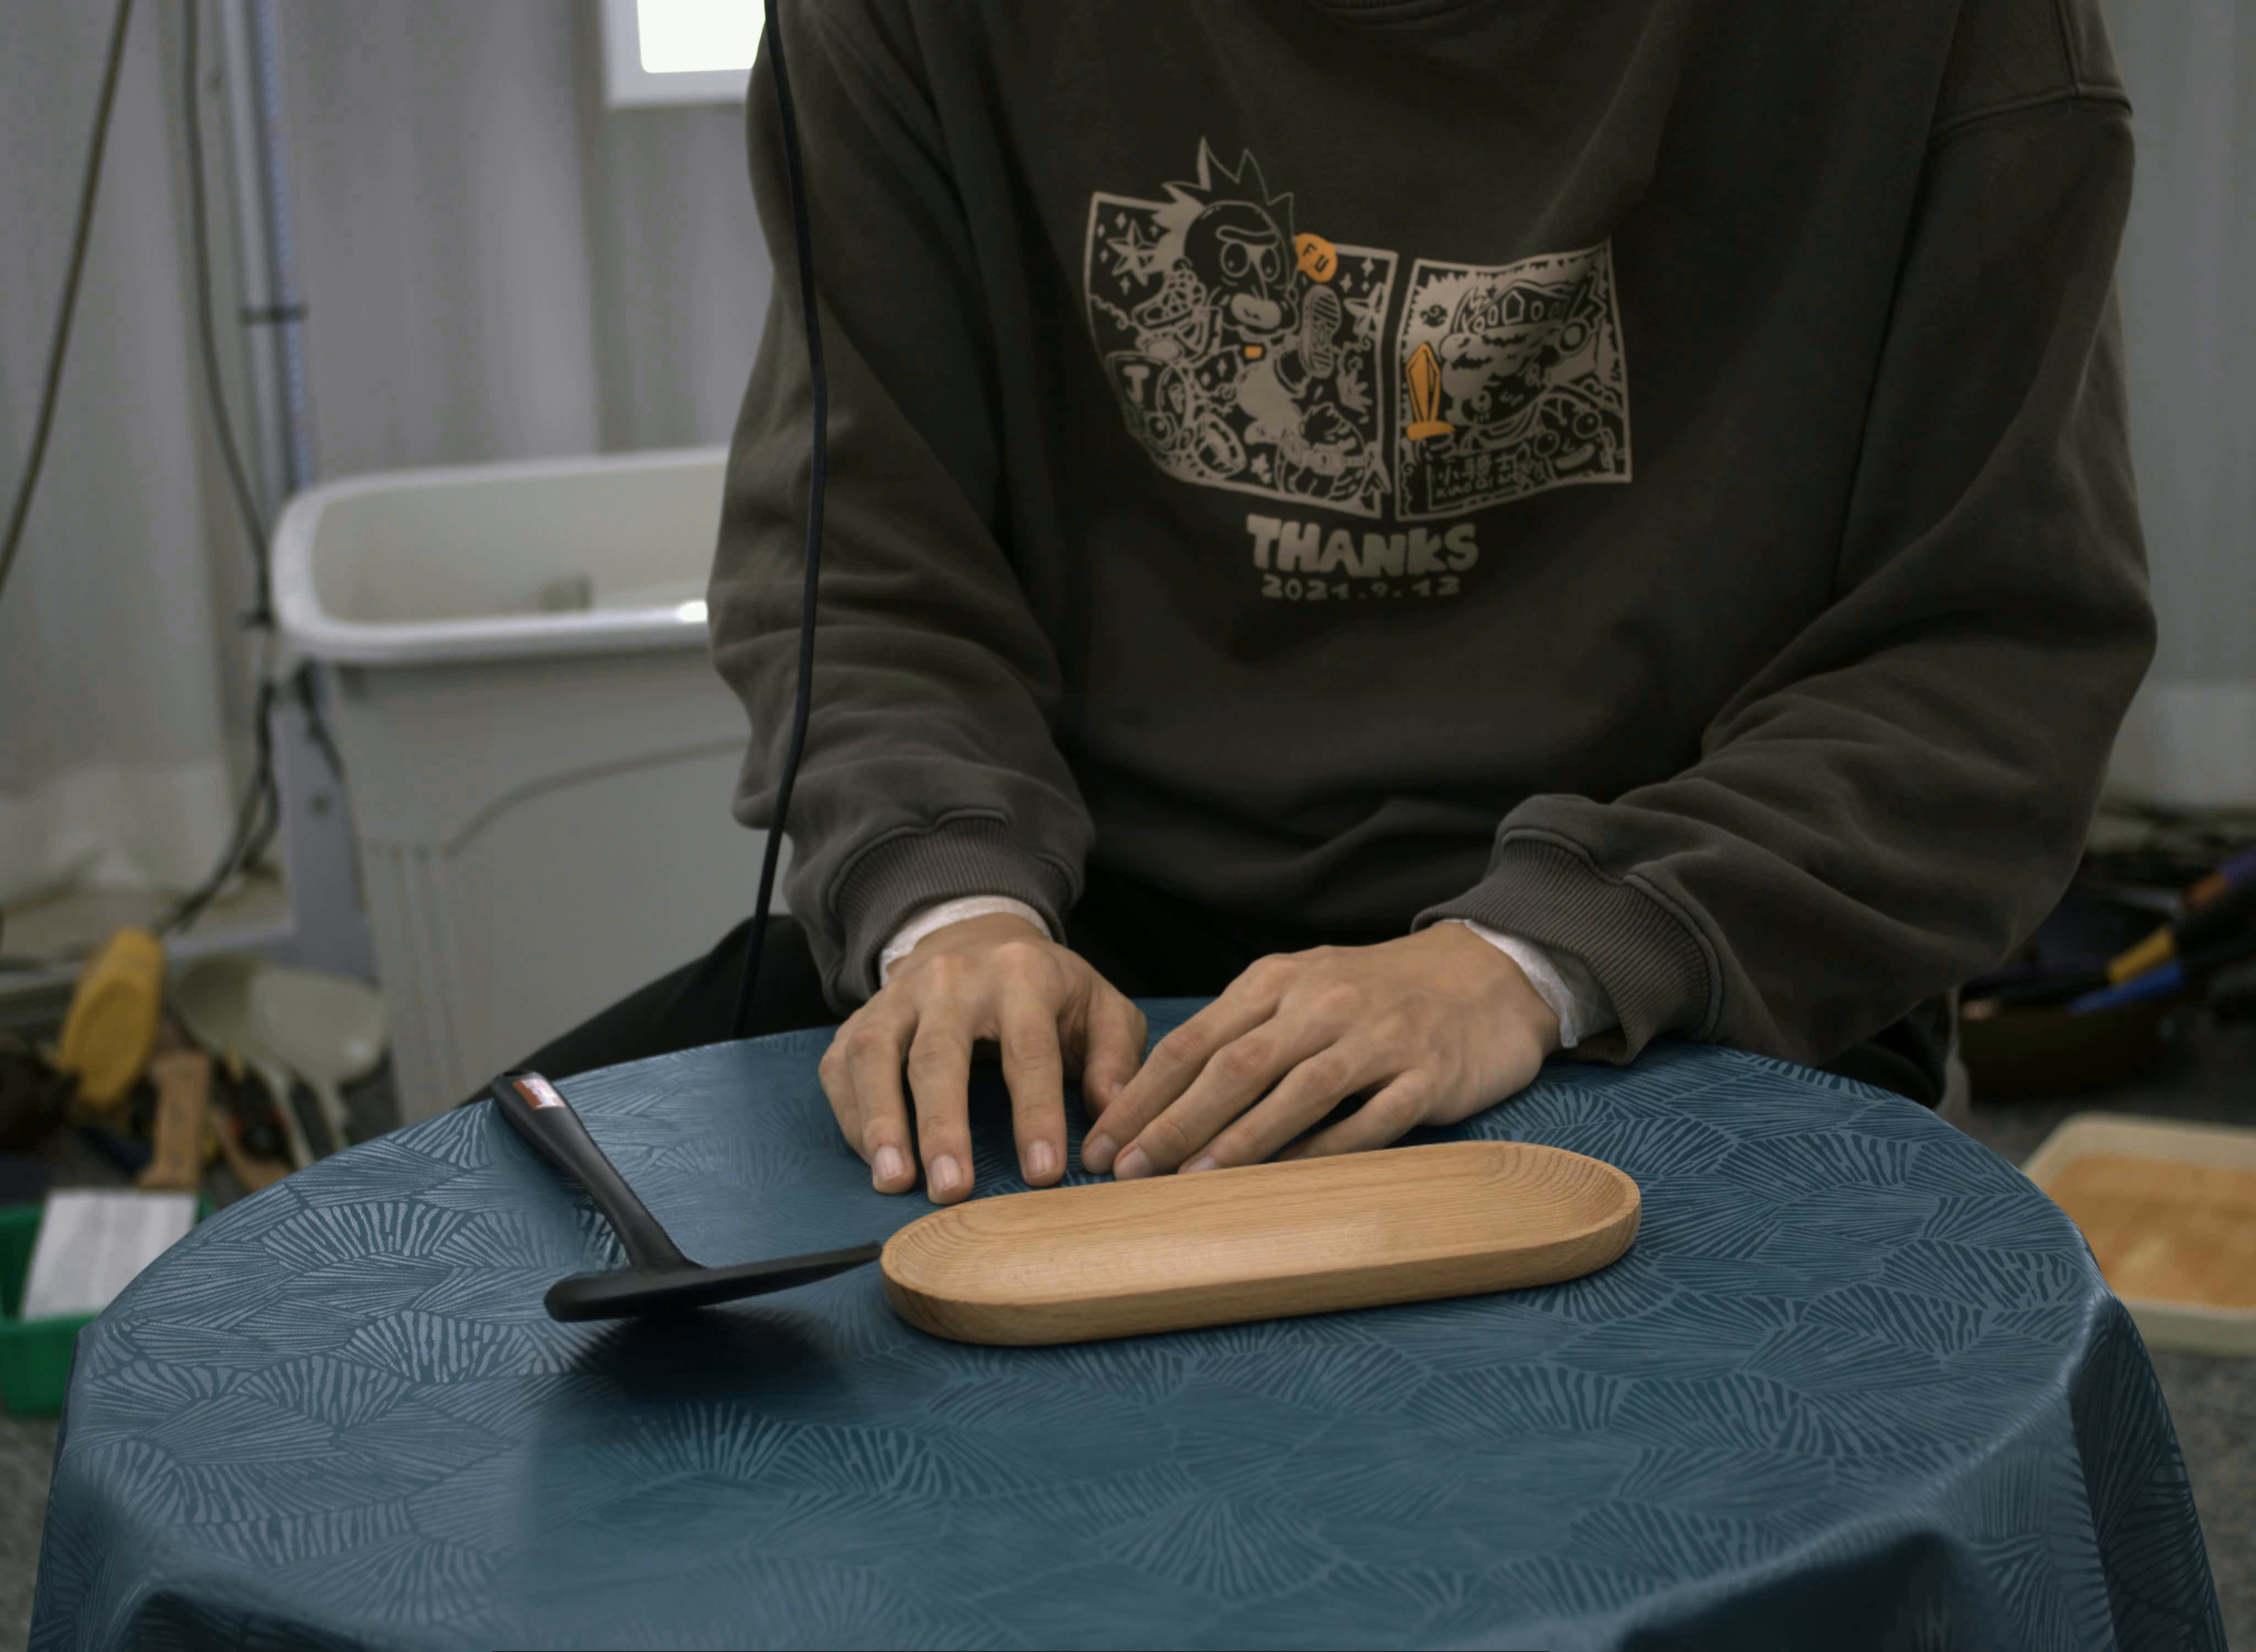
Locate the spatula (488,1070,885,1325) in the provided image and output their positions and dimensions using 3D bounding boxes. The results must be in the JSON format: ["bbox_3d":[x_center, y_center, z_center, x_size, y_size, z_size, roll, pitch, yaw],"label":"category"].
[{"bbox_3d":[-0.161,0.110,1.703,0.099,0.040,0.329,-6,15,-17],"label":"spatula"}]

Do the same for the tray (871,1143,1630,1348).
[{"bbox_3d":[0.038,0.126,1.641,0.230,0.020,0.102,-7,15,-10],"label":"tray"}]
